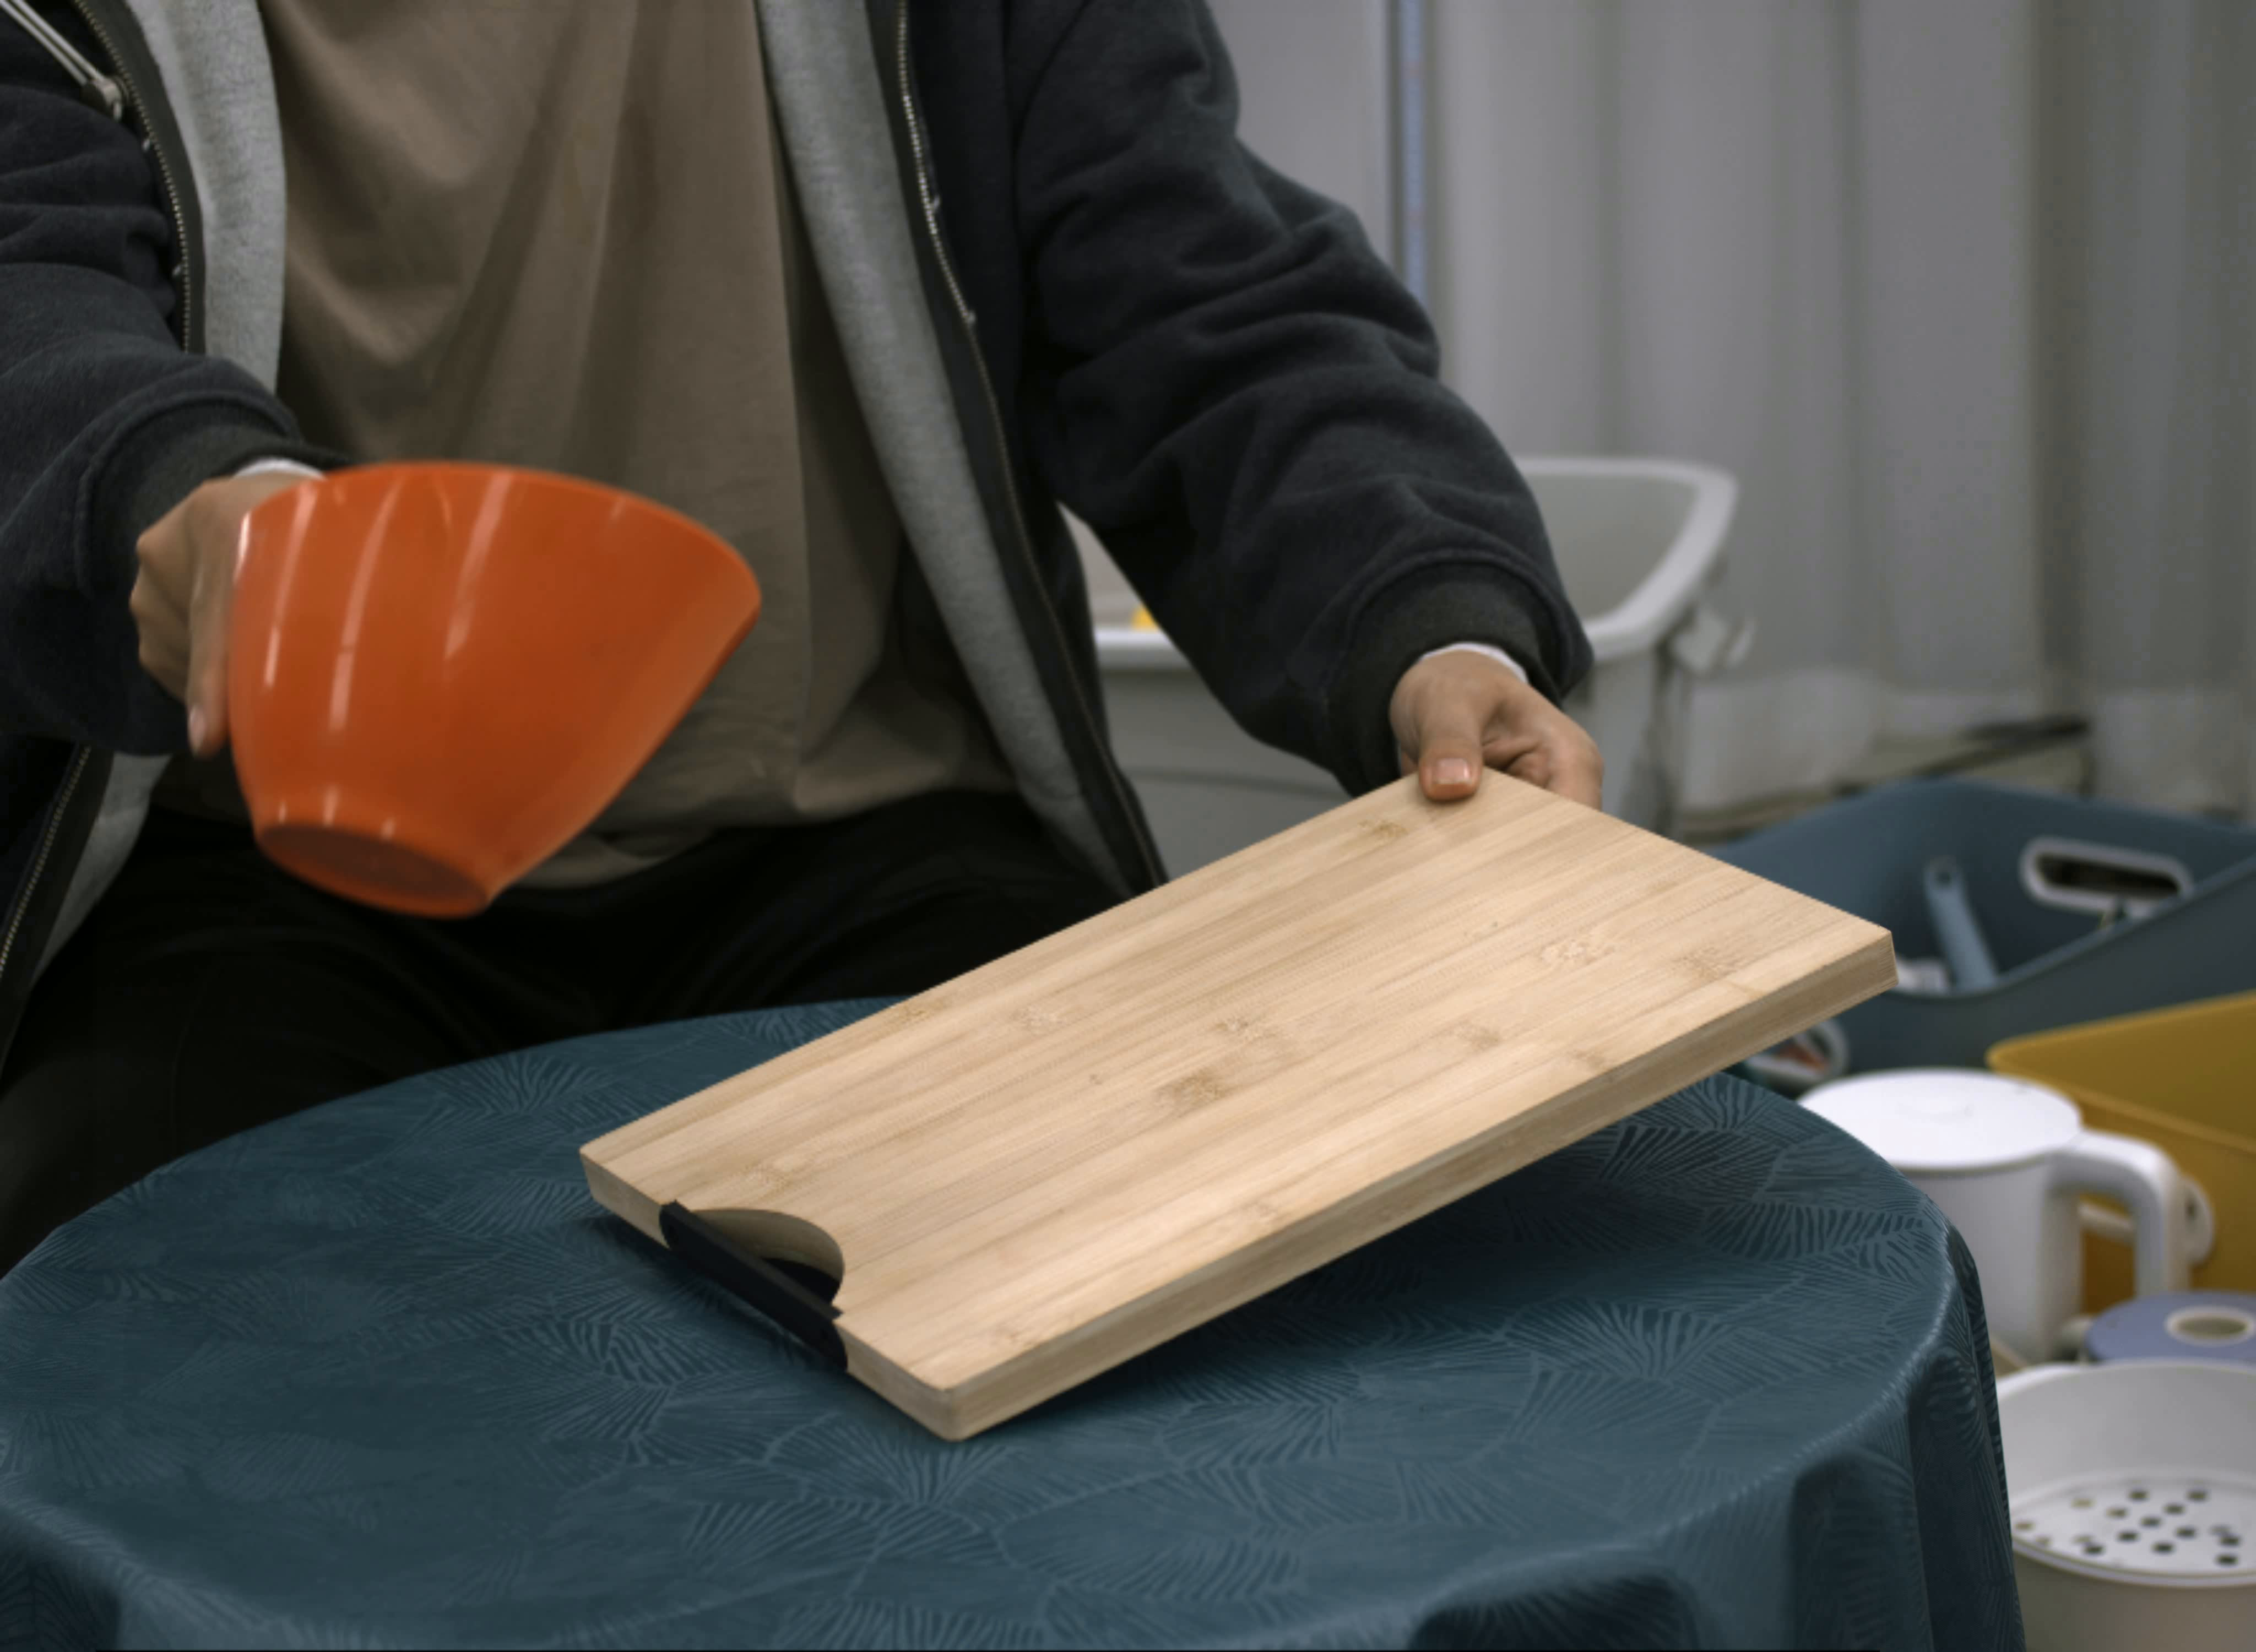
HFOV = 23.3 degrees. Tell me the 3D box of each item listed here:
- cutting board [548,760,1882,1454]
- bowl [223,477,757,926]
[{"bbox_3d":[0.026,0.077,1.677,0.348,0.023,0.253,-24,24,-25],"label":"cutting board"},{"bbox_3d":[-0.188,-0.030,1.527,0.148,0.105,0.147,13,-18,4],"label":"bowl"}]
